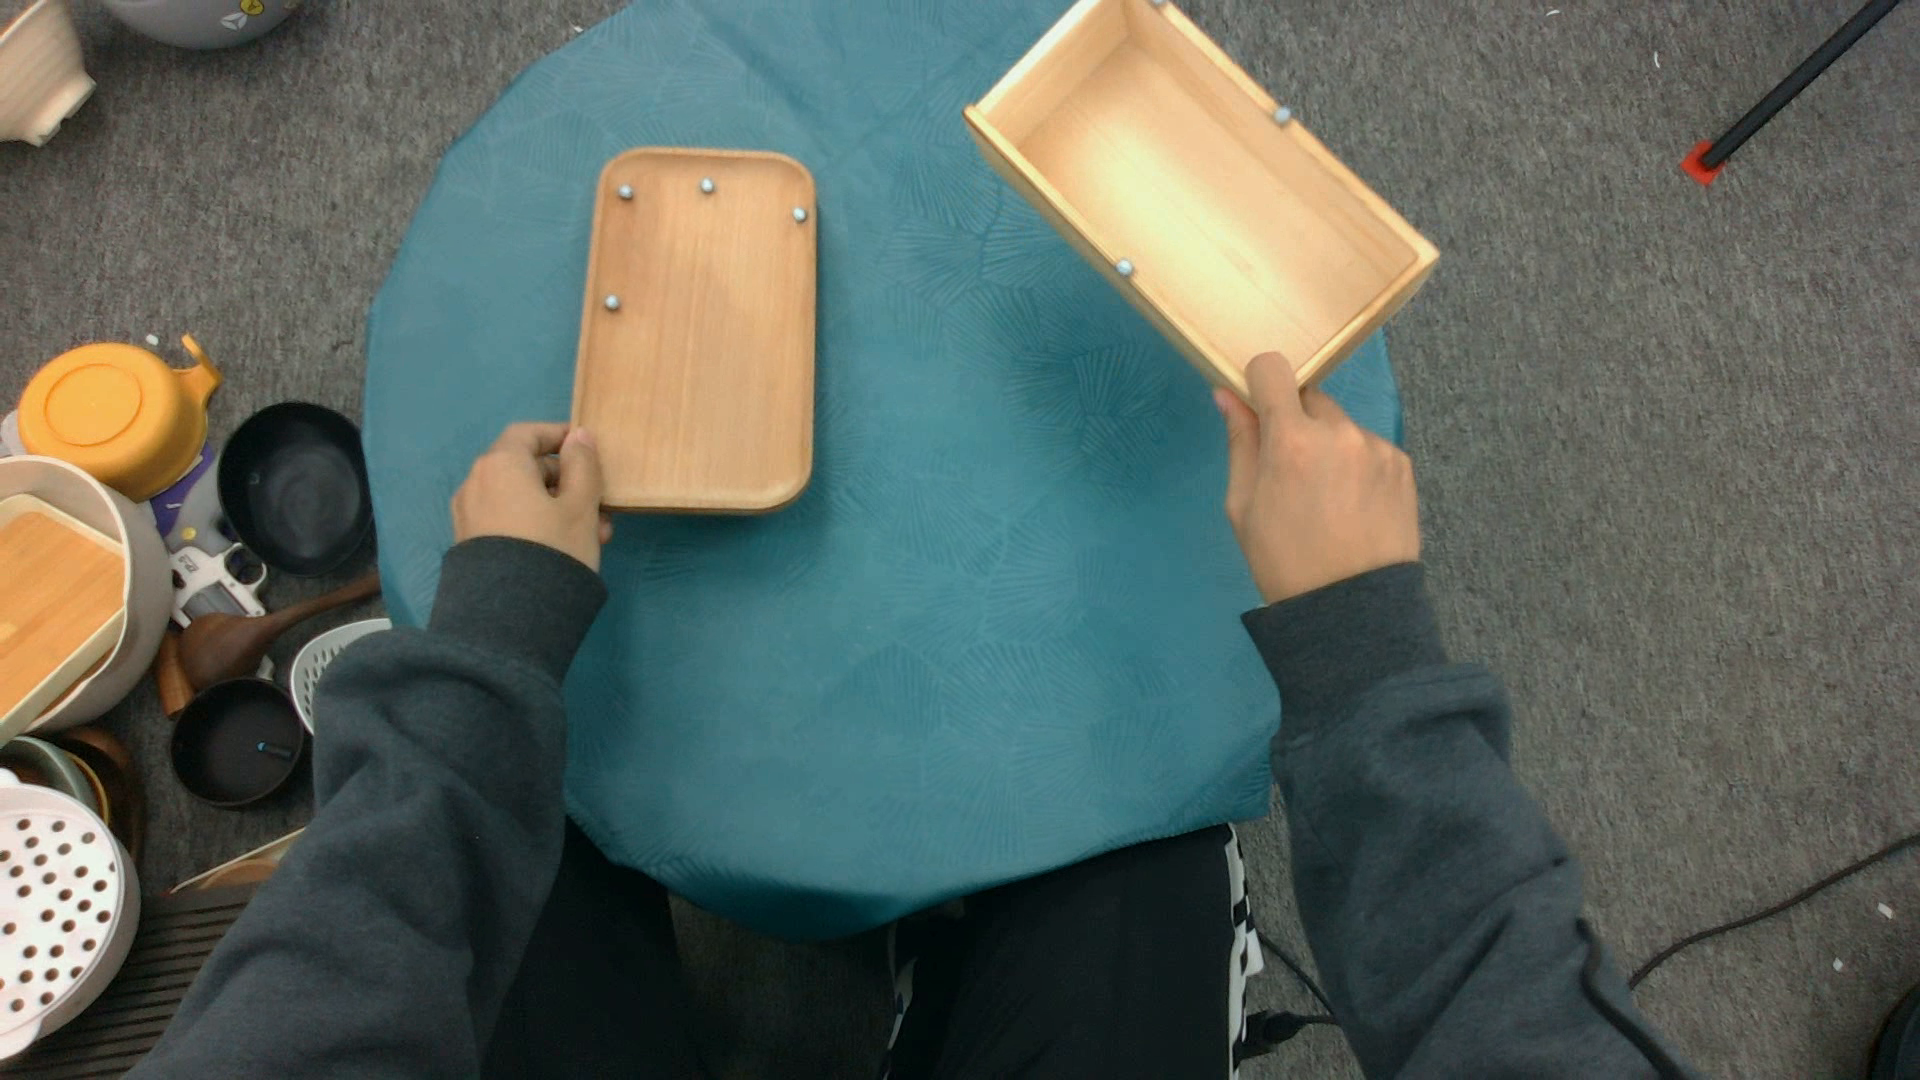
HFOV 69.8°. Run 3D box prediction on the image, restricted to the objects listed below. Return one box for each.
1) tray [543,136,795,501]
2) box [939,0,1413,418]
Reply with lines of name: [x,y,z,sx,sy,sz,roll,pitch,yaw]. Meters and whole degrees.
tray: [-0.157,-0.129,0.769,0.130,0.023,0.251,-1,61,-4]
box: [0.105,-0.175,0.681,0.107,0.080,0.211,-45,81,7]
